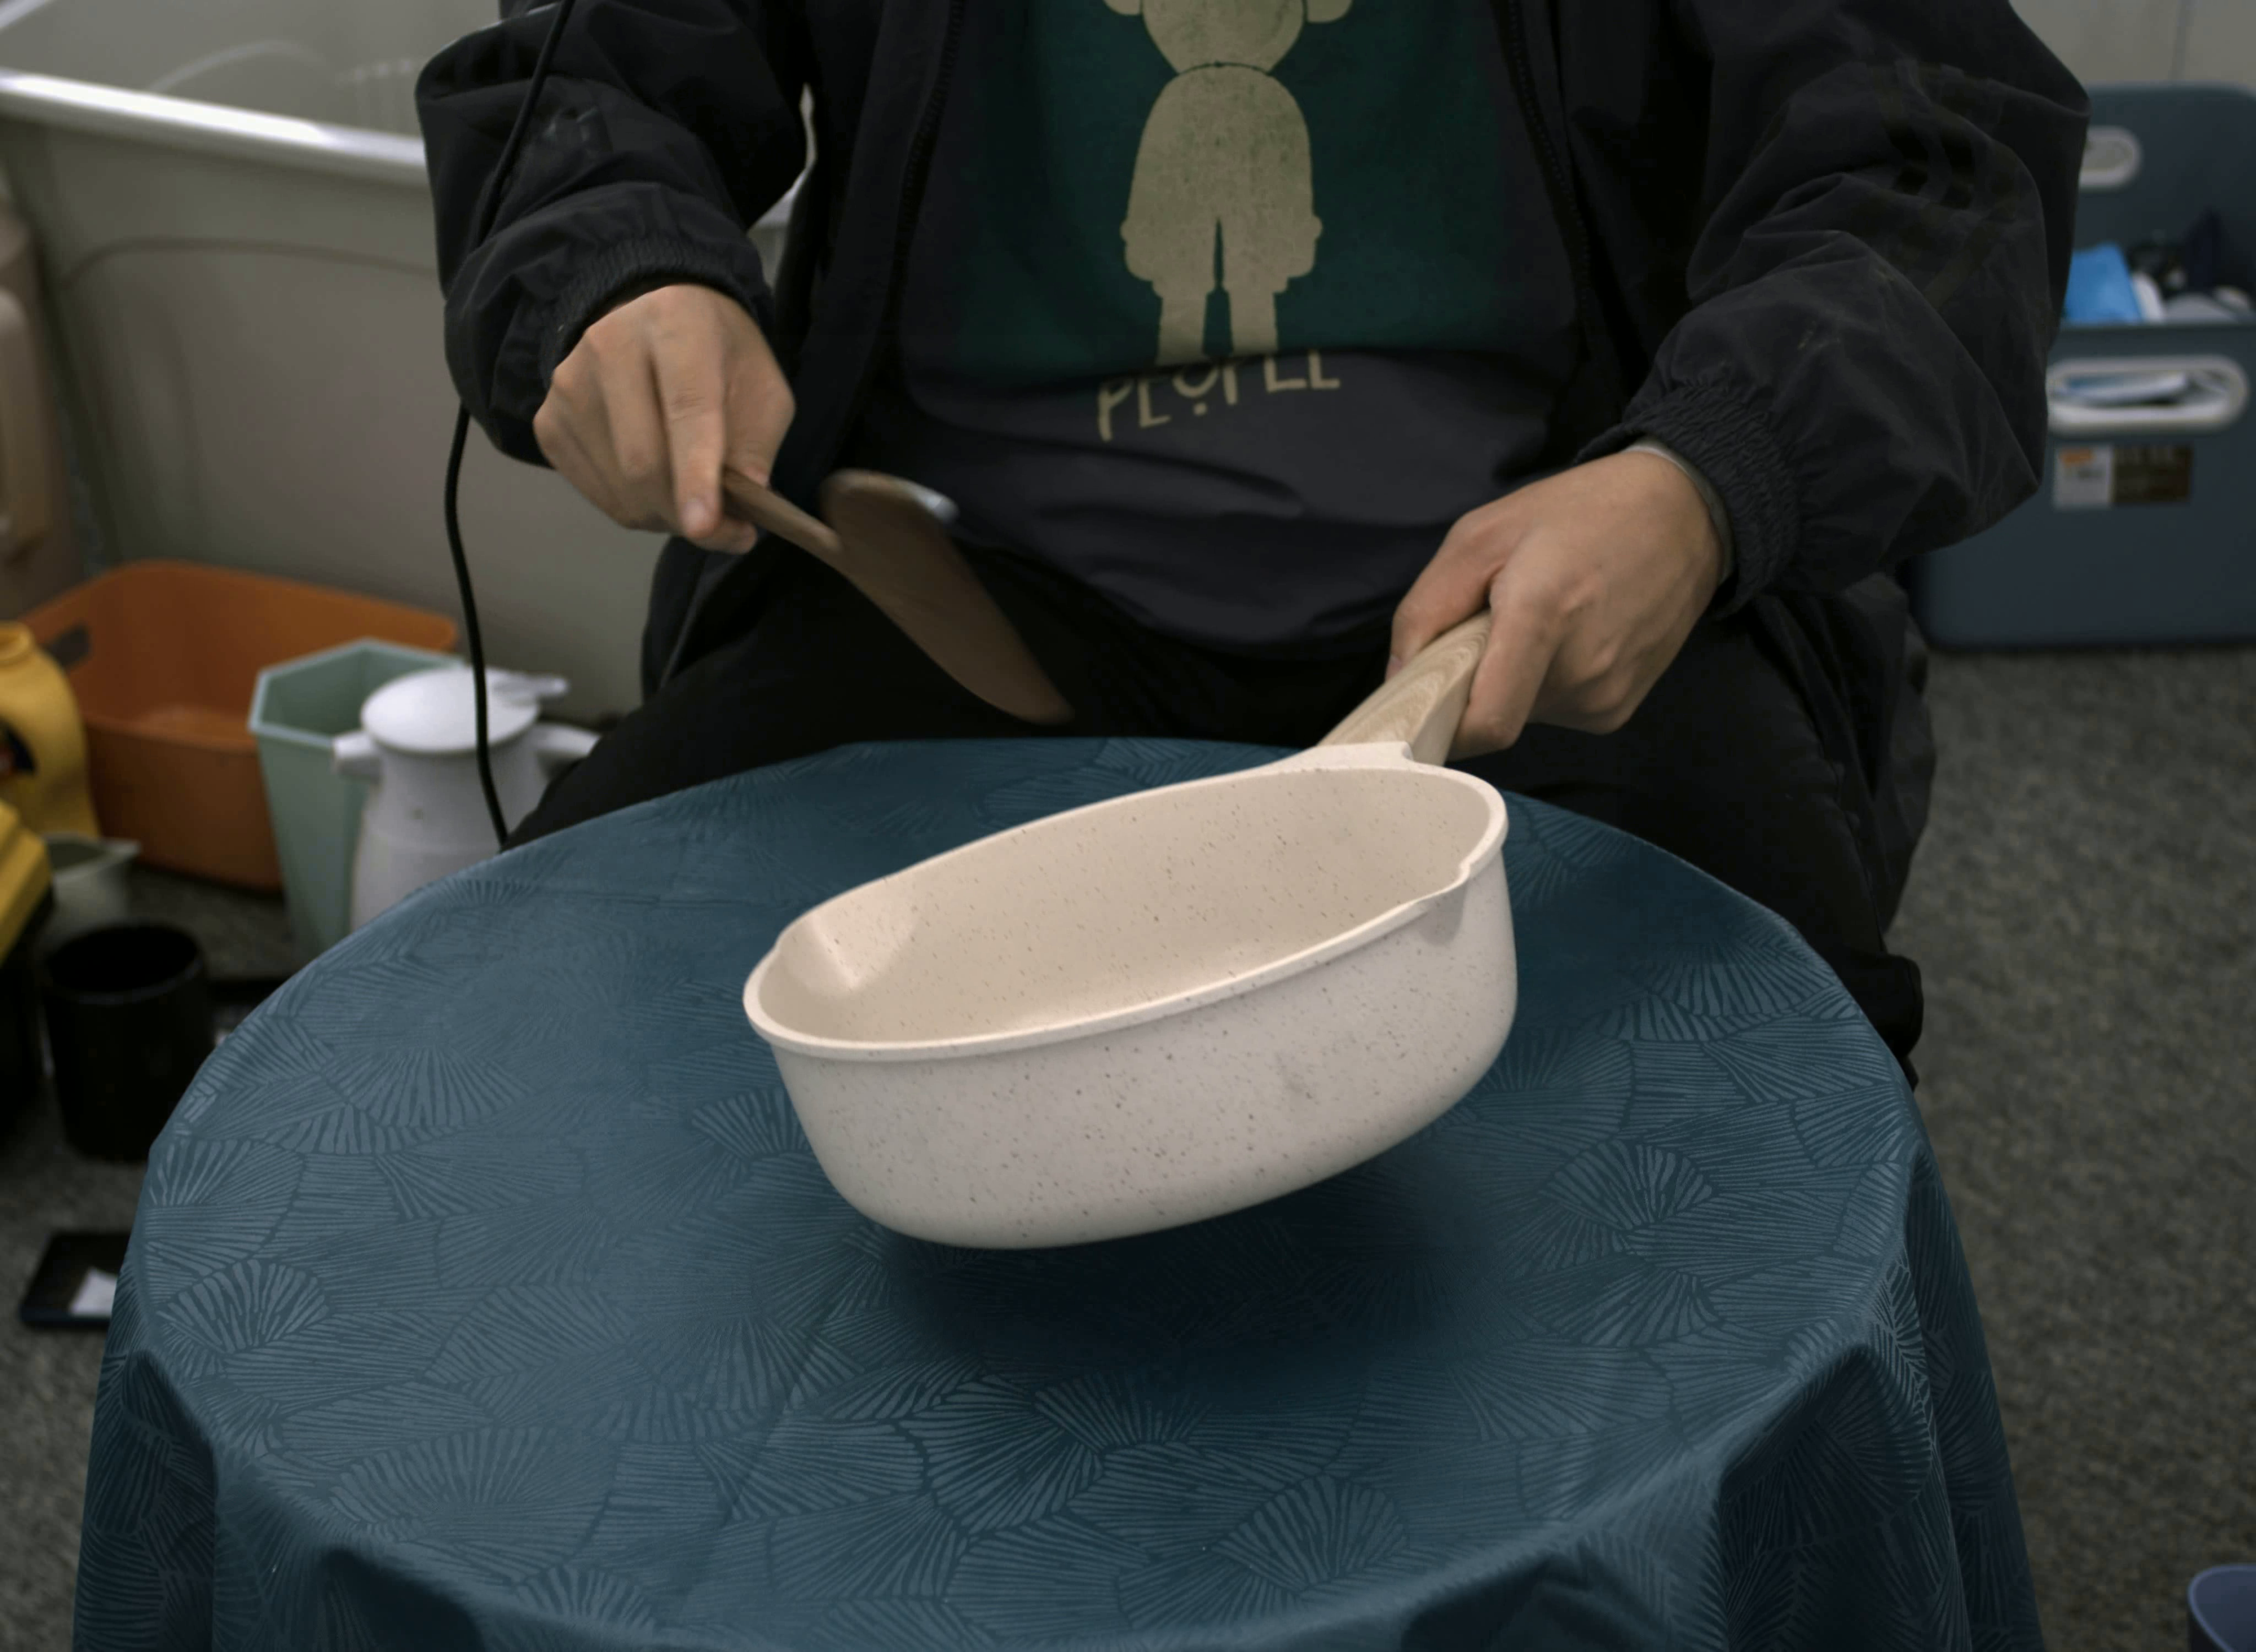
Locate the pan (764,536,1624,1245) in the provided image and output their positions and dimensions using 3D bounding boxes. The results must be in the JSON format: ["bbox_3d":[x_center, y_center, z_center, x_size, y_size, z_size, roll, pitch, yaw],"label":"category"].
[{"bbox_3d":[0.063,0.020,1.863,0.260,0.101,0.441,-6,17,37],"label":"pan"}]

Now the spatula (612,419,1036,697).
[{"bbox_3d":[-0.115,-0.104,1.870,0.016,0.095,0.386,-39,20,-9],"label":"spatula"}]
